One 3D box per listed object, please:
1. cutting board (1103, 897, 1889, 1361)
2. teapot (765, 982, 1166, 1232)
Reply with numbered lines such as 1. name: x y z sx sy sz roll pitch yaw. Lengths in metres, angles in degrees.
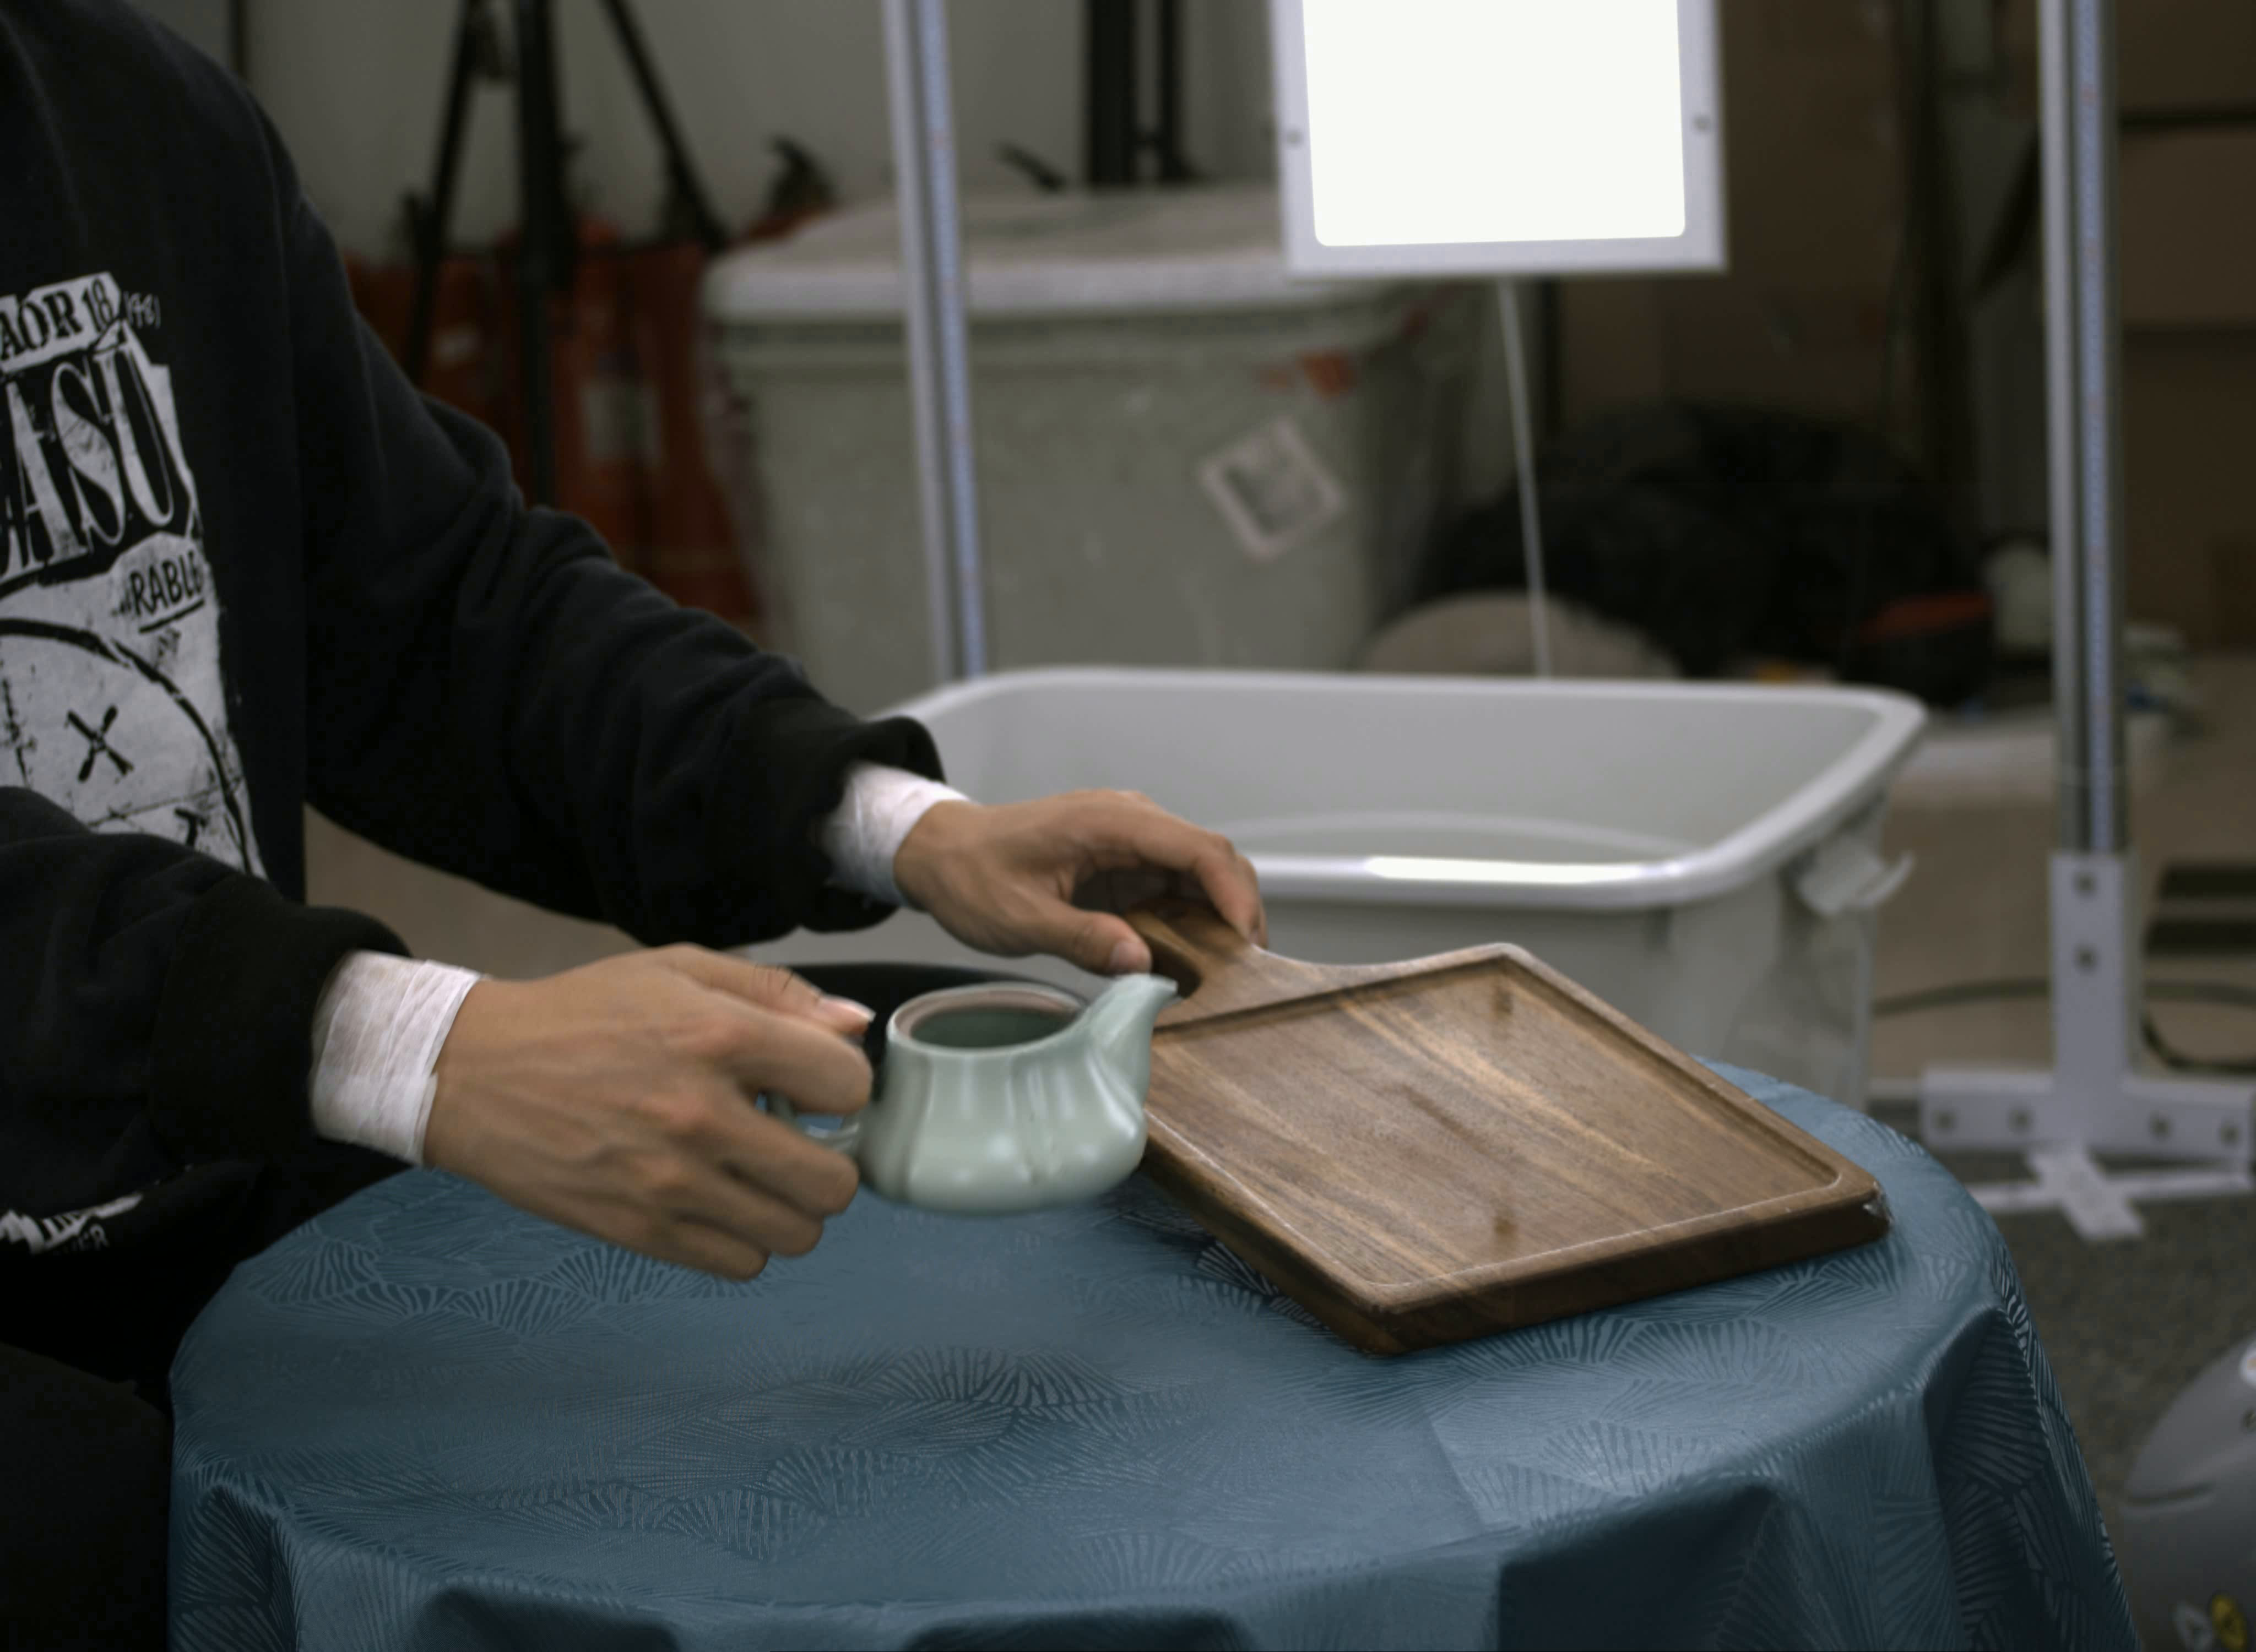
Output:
1. cutting board: 0.084 0.089 1.886 0.197 0.023 0.357 -12 23 -24
2. teapot: -0.048 0.088 1.702 0.134 0.062 0.097 -10 21 -22
